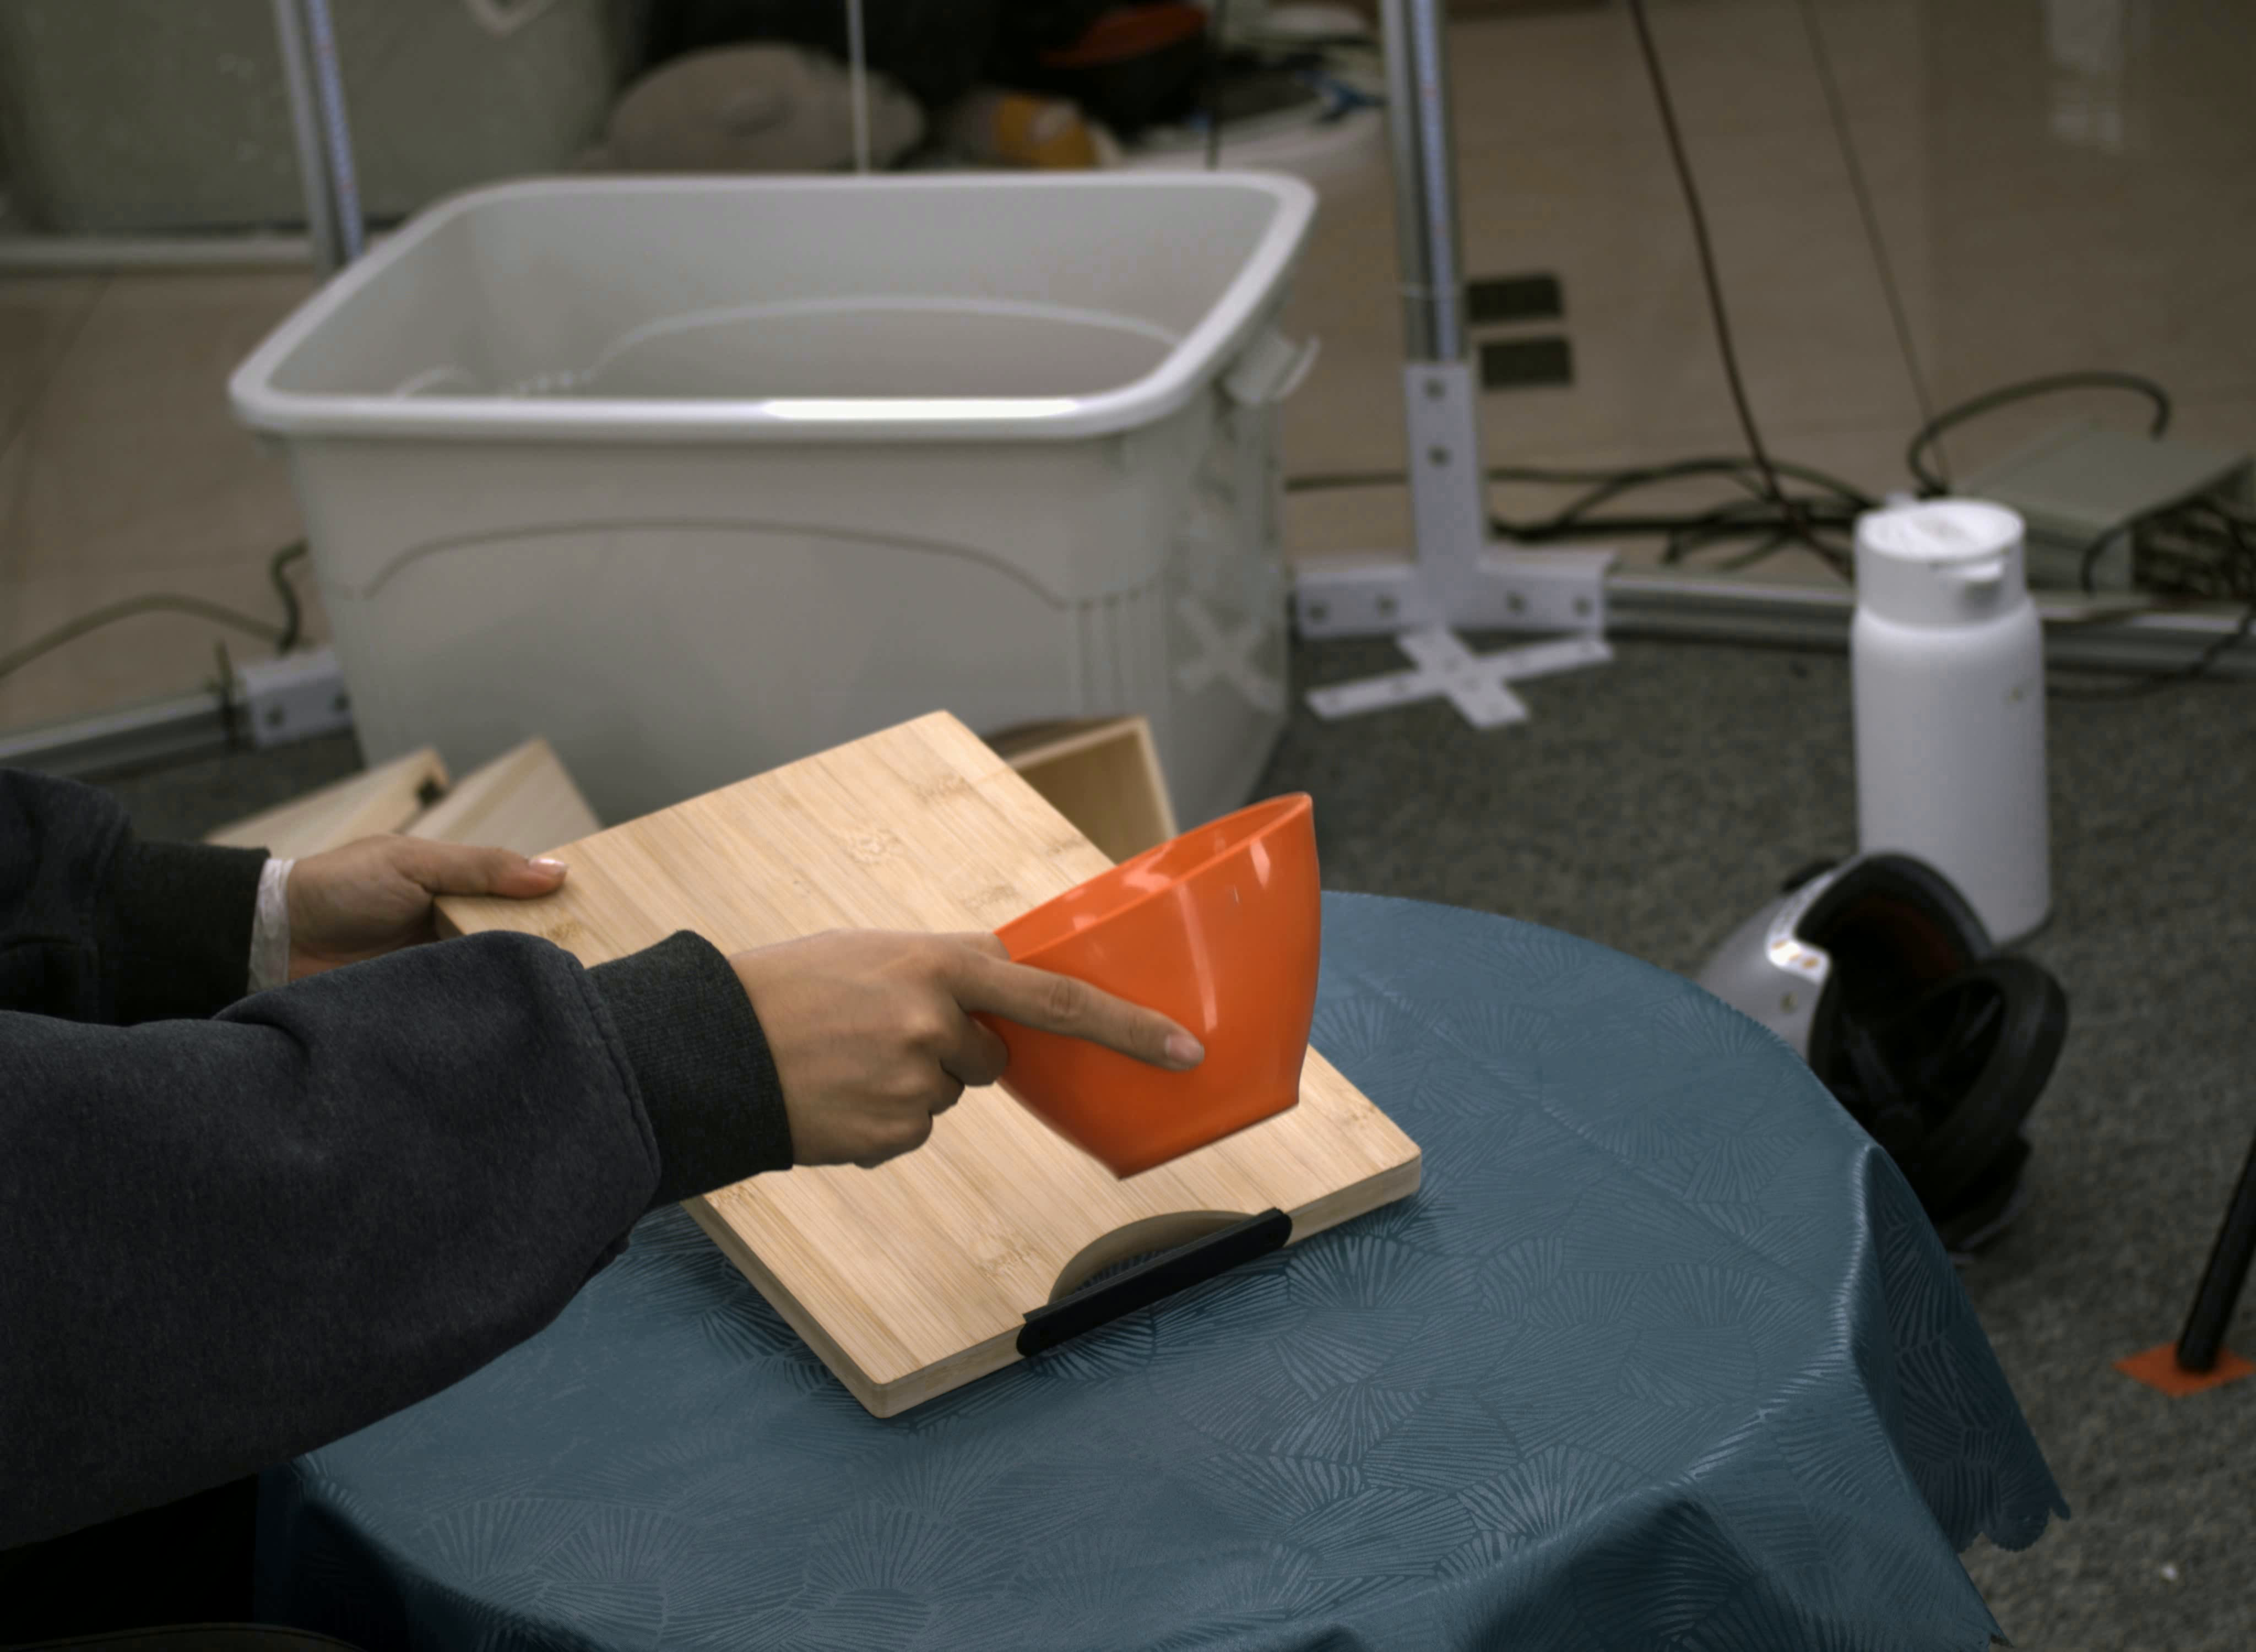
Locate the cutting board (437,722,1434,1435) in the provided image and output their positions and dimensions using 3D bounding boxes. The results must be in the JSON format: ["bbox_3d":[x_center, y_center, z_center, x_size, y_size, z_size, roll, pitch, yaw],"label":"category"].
[{"bbox_3d":[-0.079,0.085,2.167,0.249,0.024,0.344,-22,43,-27],"label":"cutting board"}]

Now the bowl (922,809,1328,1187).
[{"bbox_3d":[0.012,0.061,1.920,0.148,0.104,0.148,-20,-4,-1],"label":"bowl"}]
